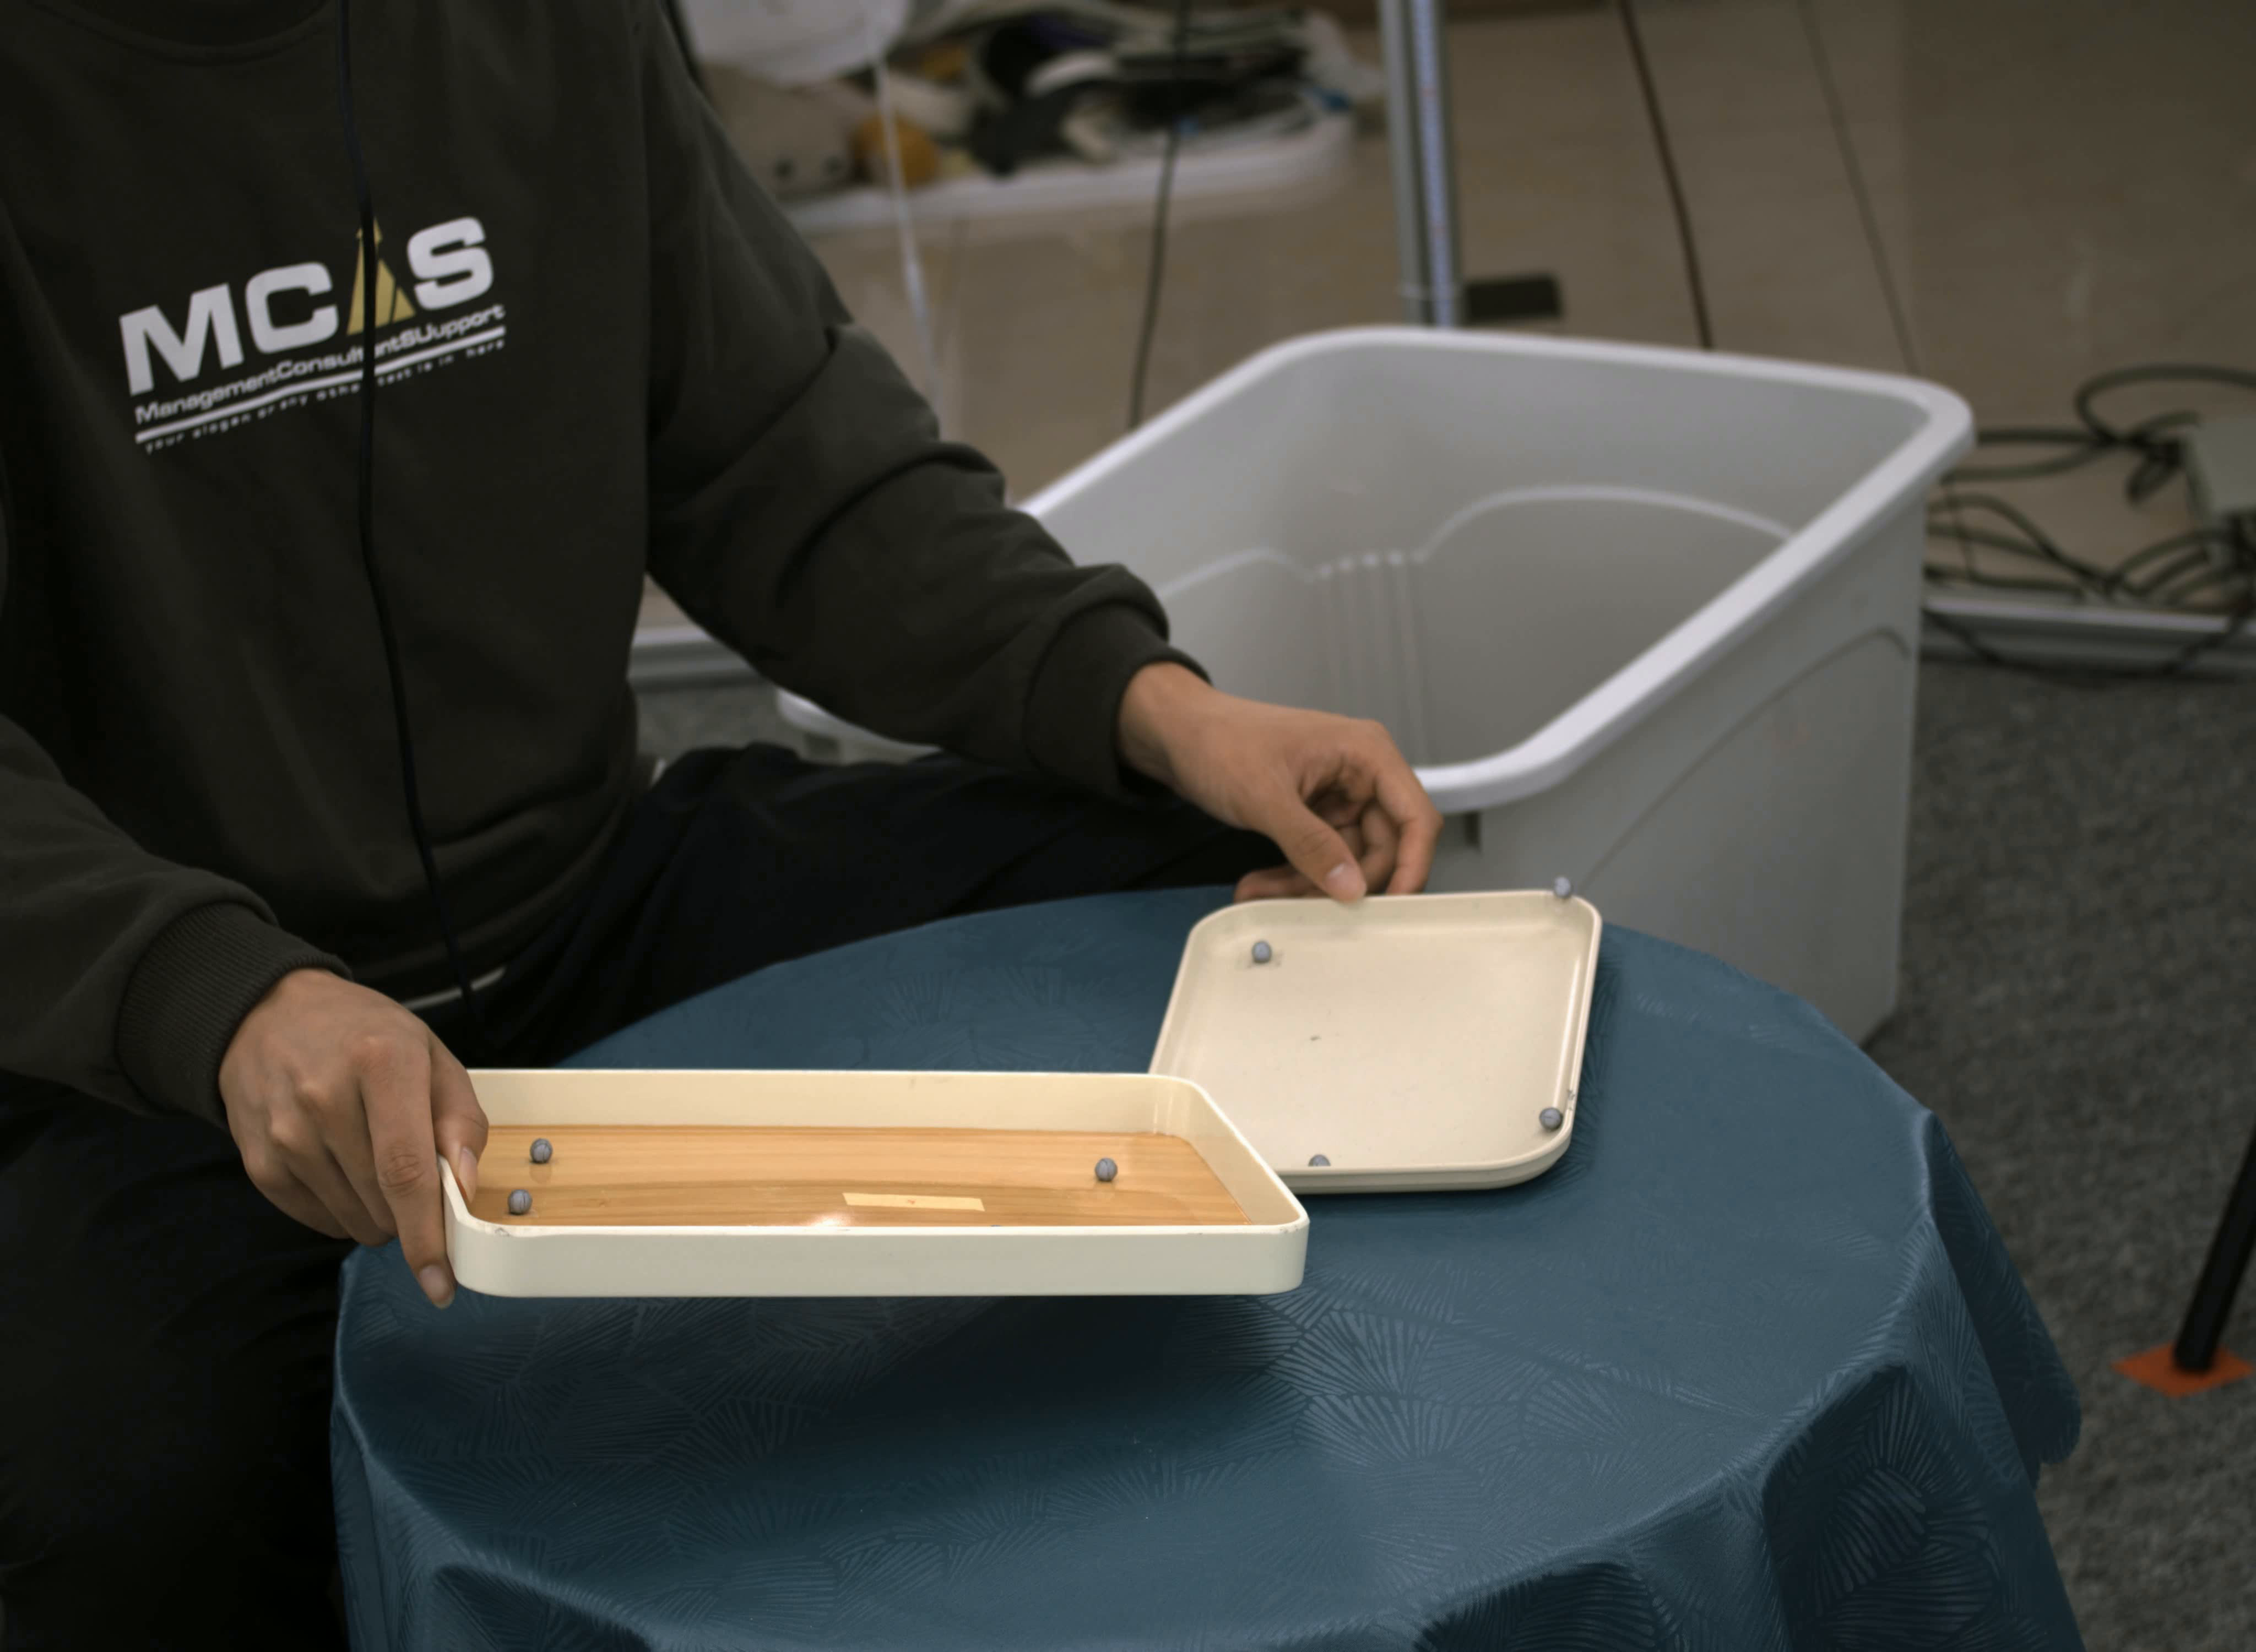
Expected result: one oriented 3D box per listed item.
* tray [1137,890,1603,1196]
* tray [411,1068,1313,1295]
[{"bbox_3d":[0.097,0.085,2.220,0.171,0.018,0.236,-3,25,10],"label":"tray"},{"bbox_3d":[-0.099,0.126,2.032,0.300,0.028,0.190,1,14,-14],"label":"tray"}]
